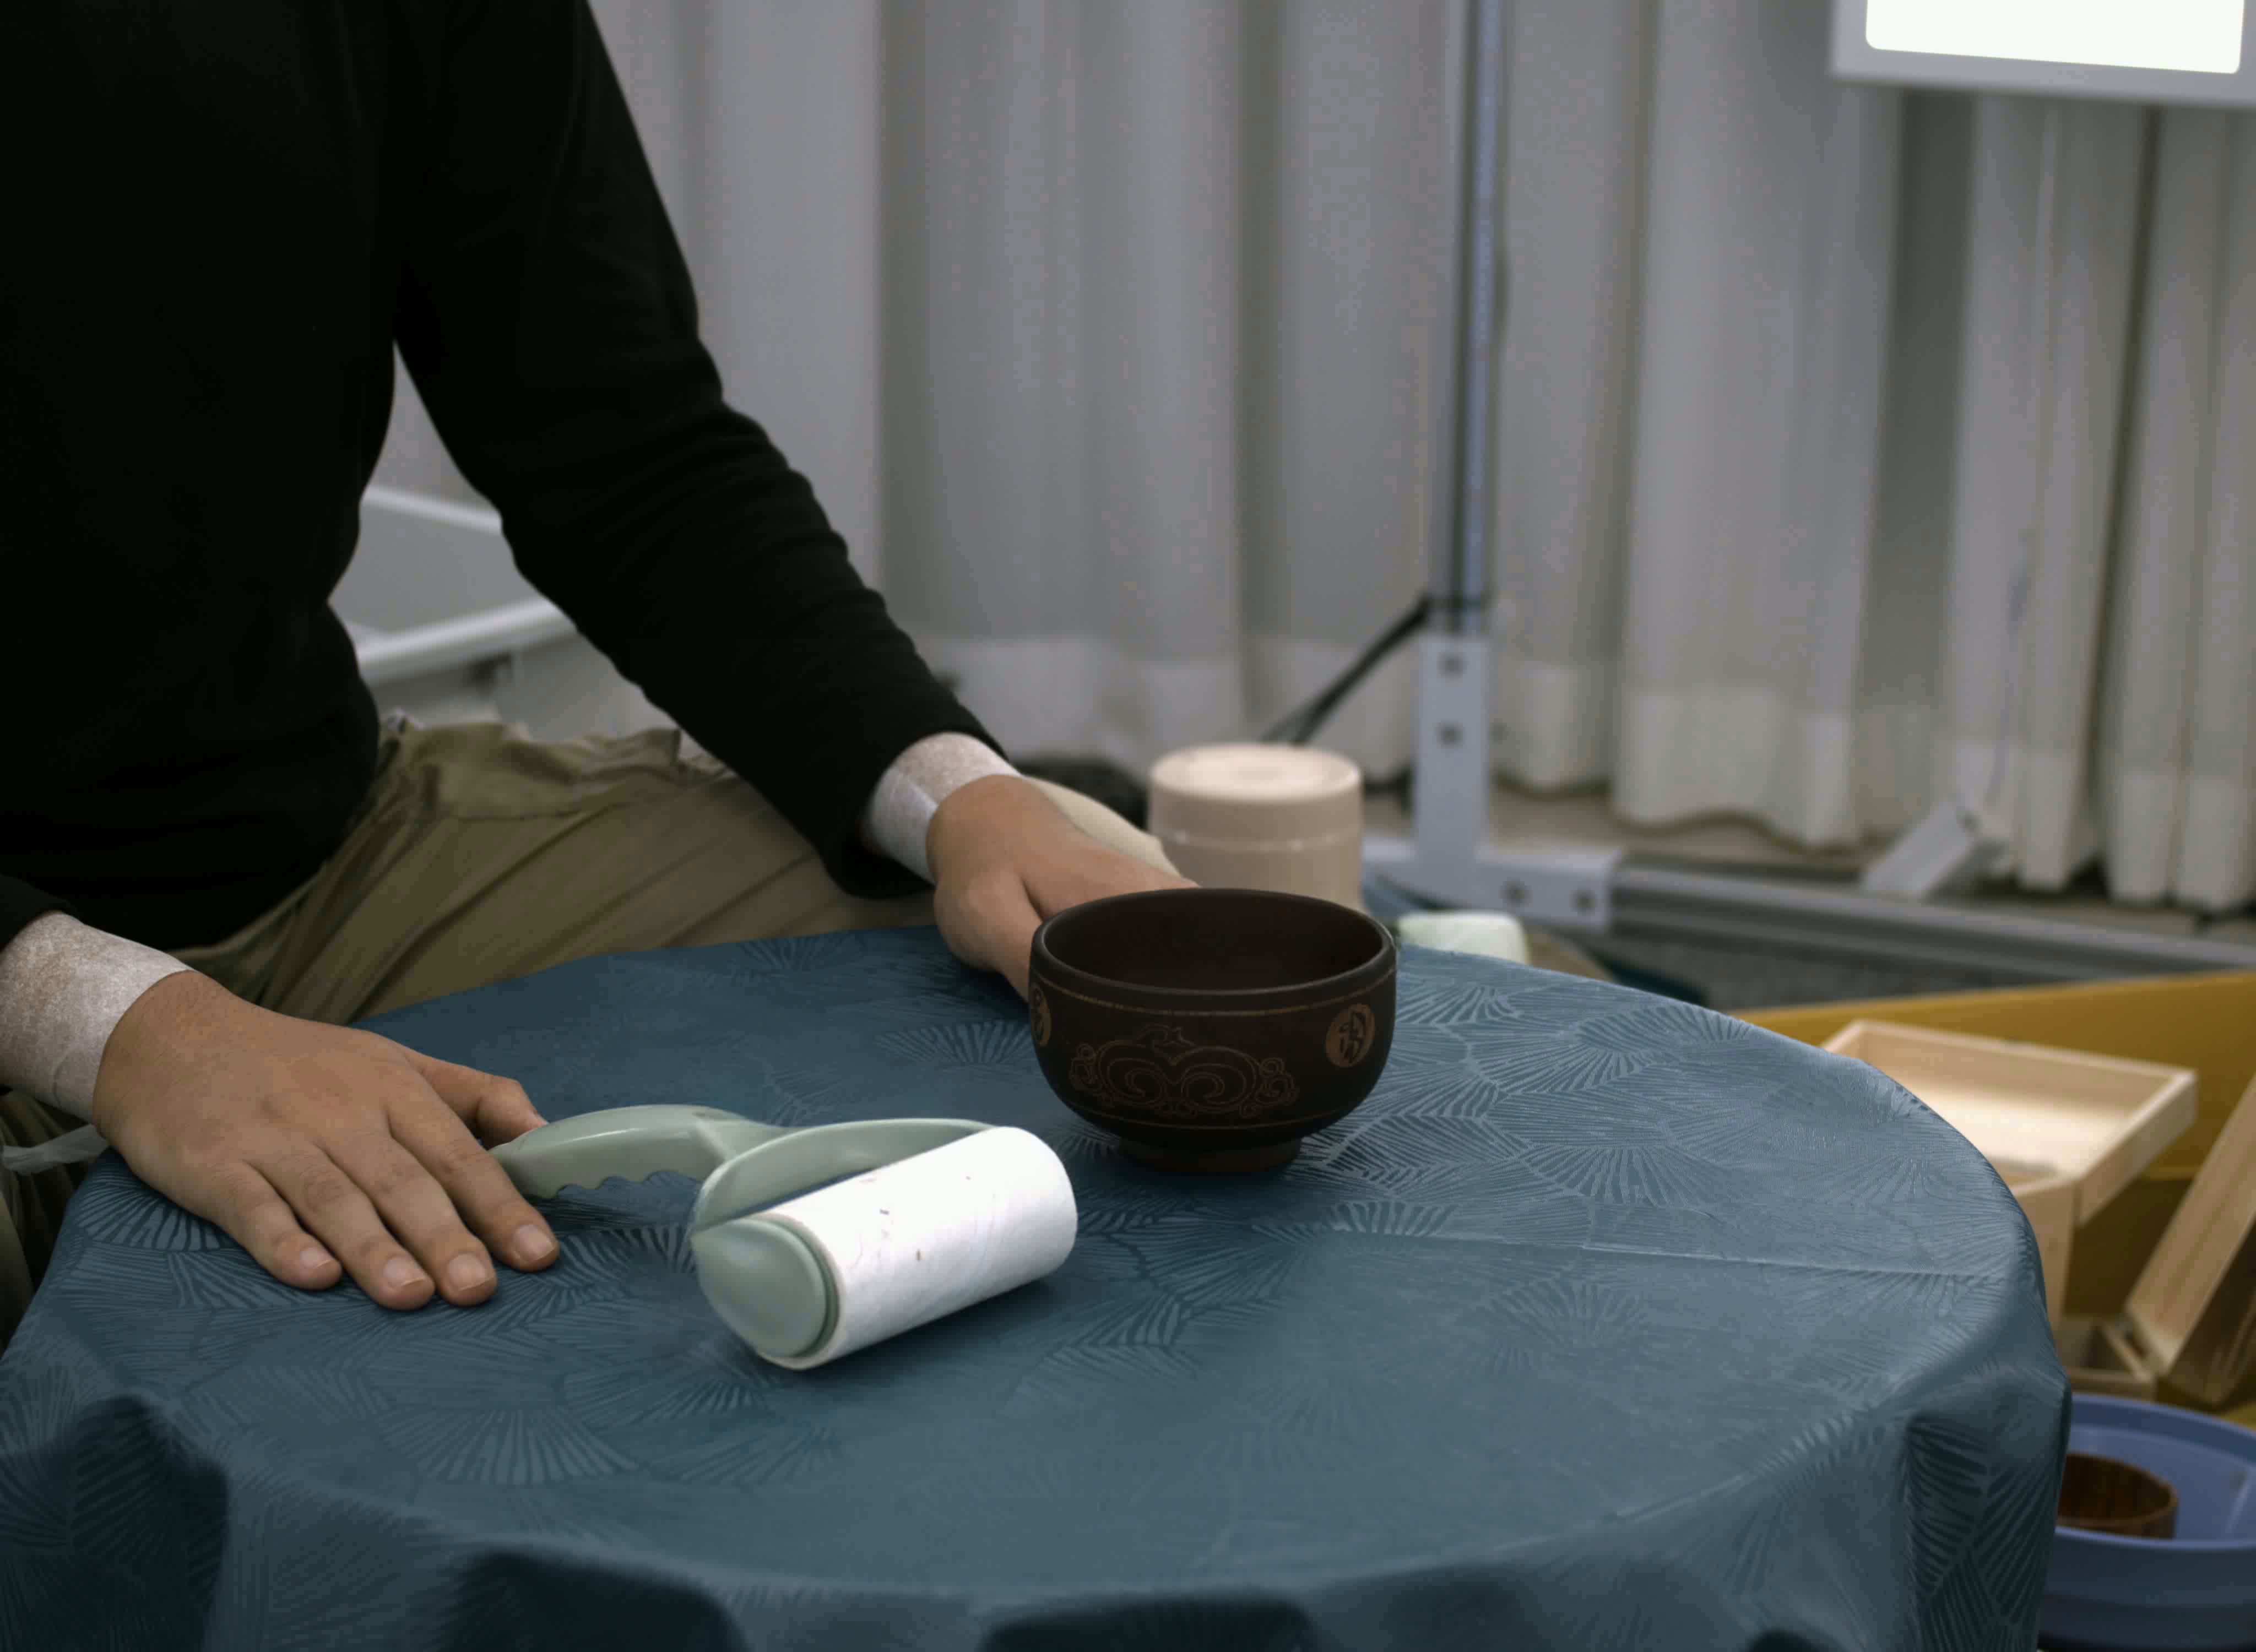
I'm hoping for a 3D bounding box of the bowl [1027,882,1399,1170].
[{"bbox_3d":[0.027,0.067,1.653,0.117,0.070,0.117,-1,16,1],"label":"bowl"}]

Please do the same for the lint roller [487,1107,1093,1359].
[{"bbox_3d":[-0.115,0.107,1.553,0.195,0.049,0.117,11,19,38],"label":"lint roller"}]
